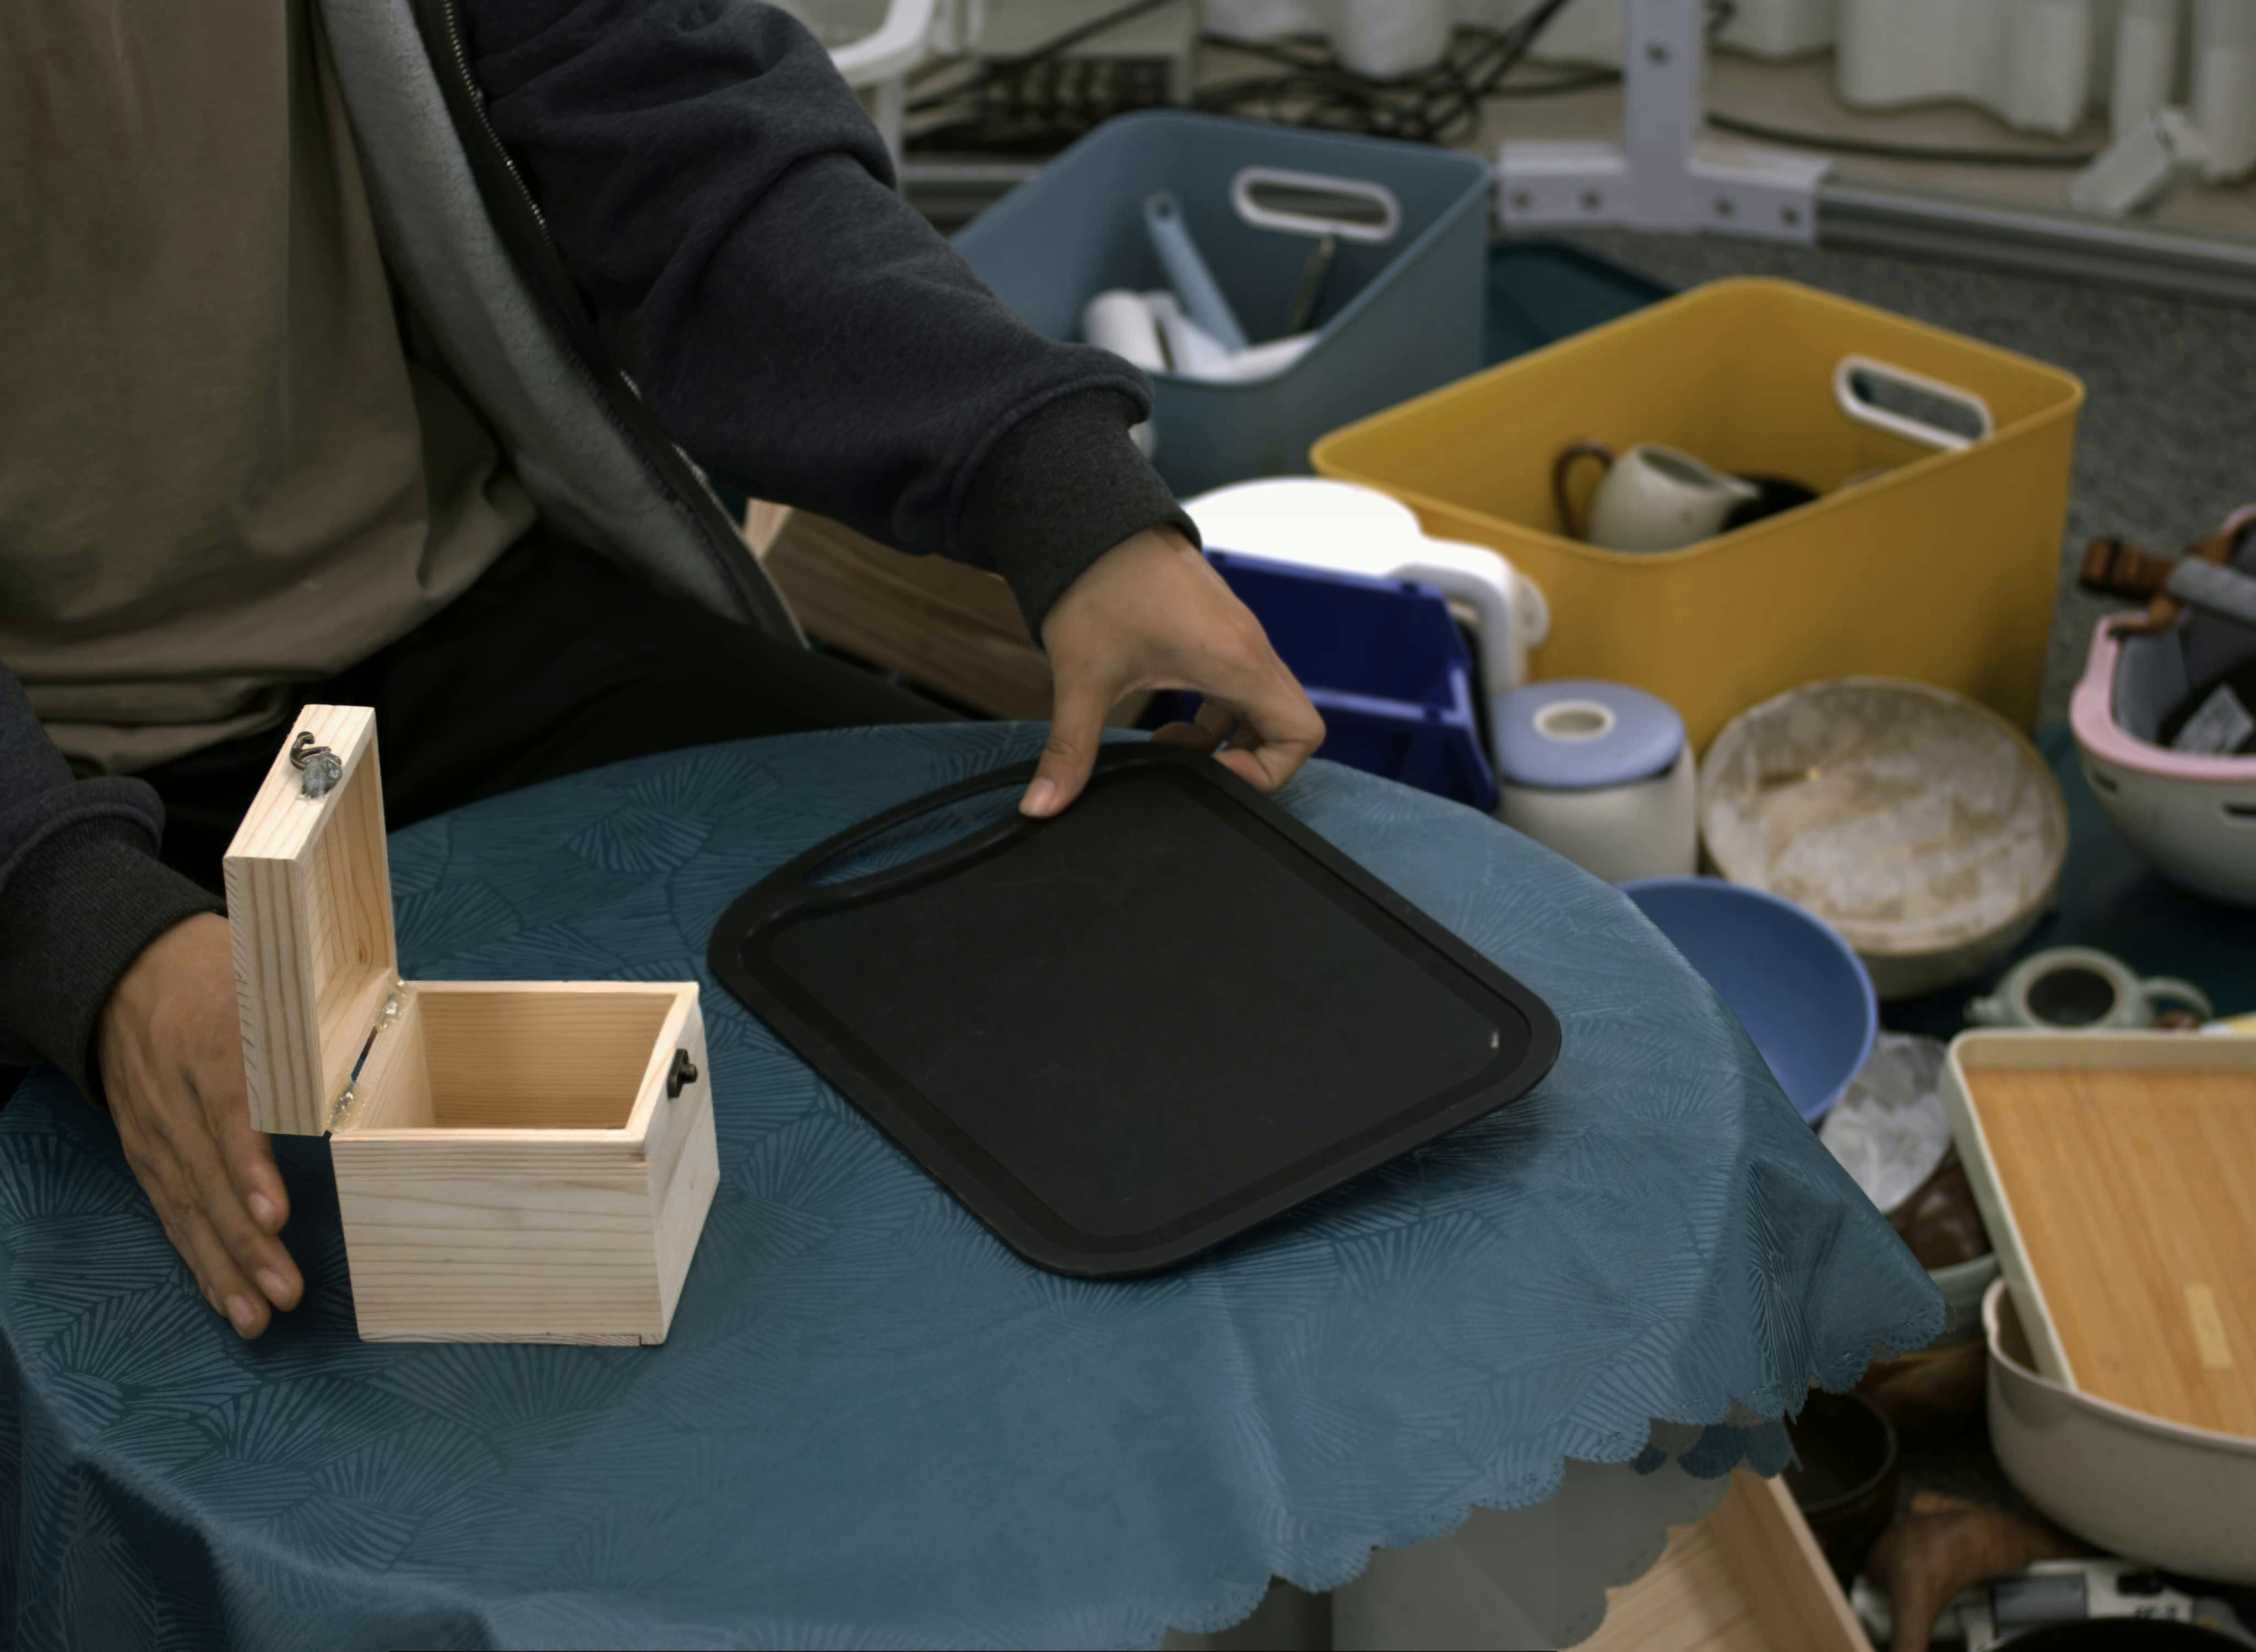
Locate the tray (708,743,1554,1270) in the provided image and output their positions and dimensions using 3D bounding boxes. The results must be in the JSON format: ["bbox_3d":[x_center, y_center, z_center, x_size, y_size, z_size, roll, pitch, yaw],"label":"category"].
[{"bbox_3d":[-0.009,0.053,1.963,0.212,0.009,0.327,-23,33,-21],"label":"tray"}]

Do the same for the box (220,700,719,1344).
[{"bbox_3d":[-0.206,0.062,1.800,0.133,0.182,0.104,-1,27,6],"label":"box"}]
